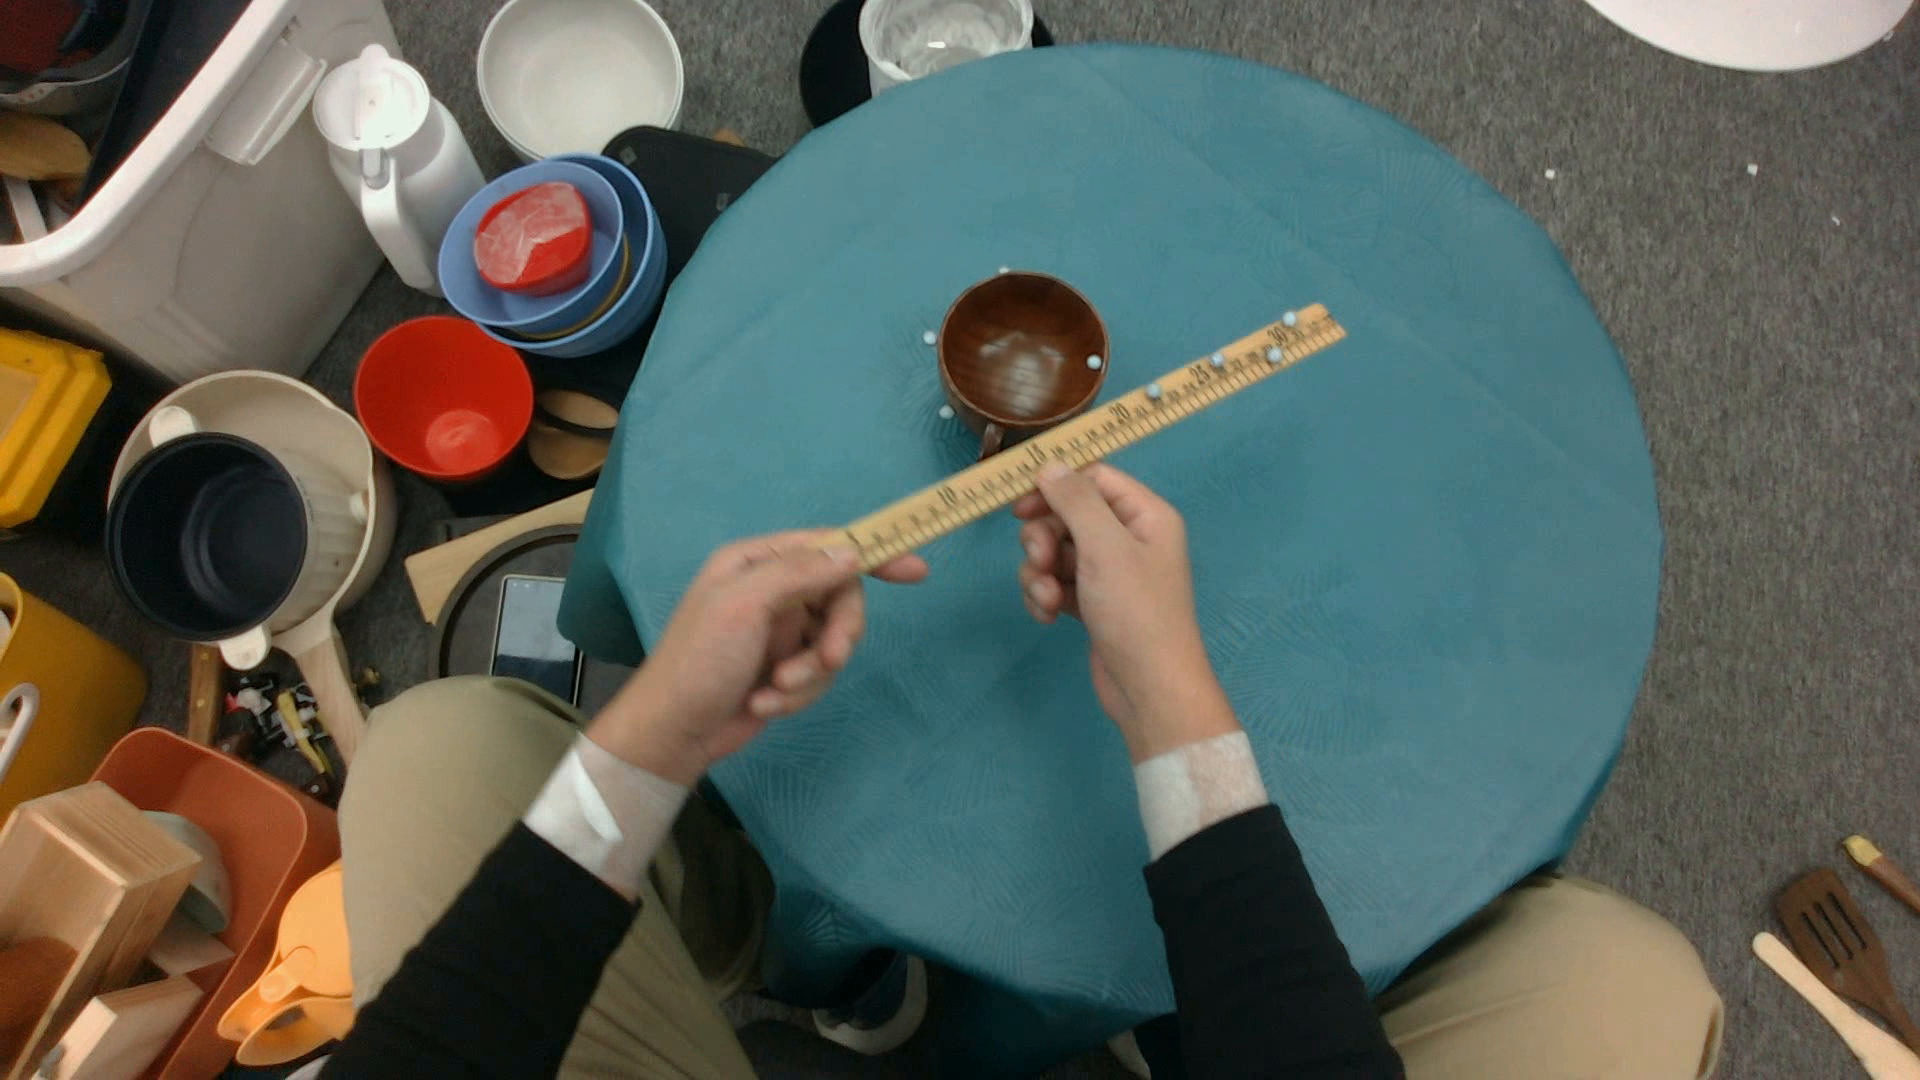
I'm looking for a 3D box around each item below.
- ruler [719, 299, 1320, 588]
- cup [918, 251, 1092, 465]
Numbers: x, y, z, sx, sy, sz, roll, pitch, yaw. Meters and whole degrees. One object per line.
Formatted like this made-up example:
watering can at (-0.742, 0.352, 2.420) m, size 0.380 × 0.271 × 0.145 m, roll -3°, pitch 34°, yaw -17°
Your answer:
ruler at (0.039, -0.055, 0.672) m, size 0.333 × 0.022 × 0.027 m, roll -24°, pitch 60°, yaw -18°
cup at (0.019, -0.094, 0.773) m, size 0.096 × 0.067 × 0.120 m, roll 17°, pitch 72°, yaw 1°
